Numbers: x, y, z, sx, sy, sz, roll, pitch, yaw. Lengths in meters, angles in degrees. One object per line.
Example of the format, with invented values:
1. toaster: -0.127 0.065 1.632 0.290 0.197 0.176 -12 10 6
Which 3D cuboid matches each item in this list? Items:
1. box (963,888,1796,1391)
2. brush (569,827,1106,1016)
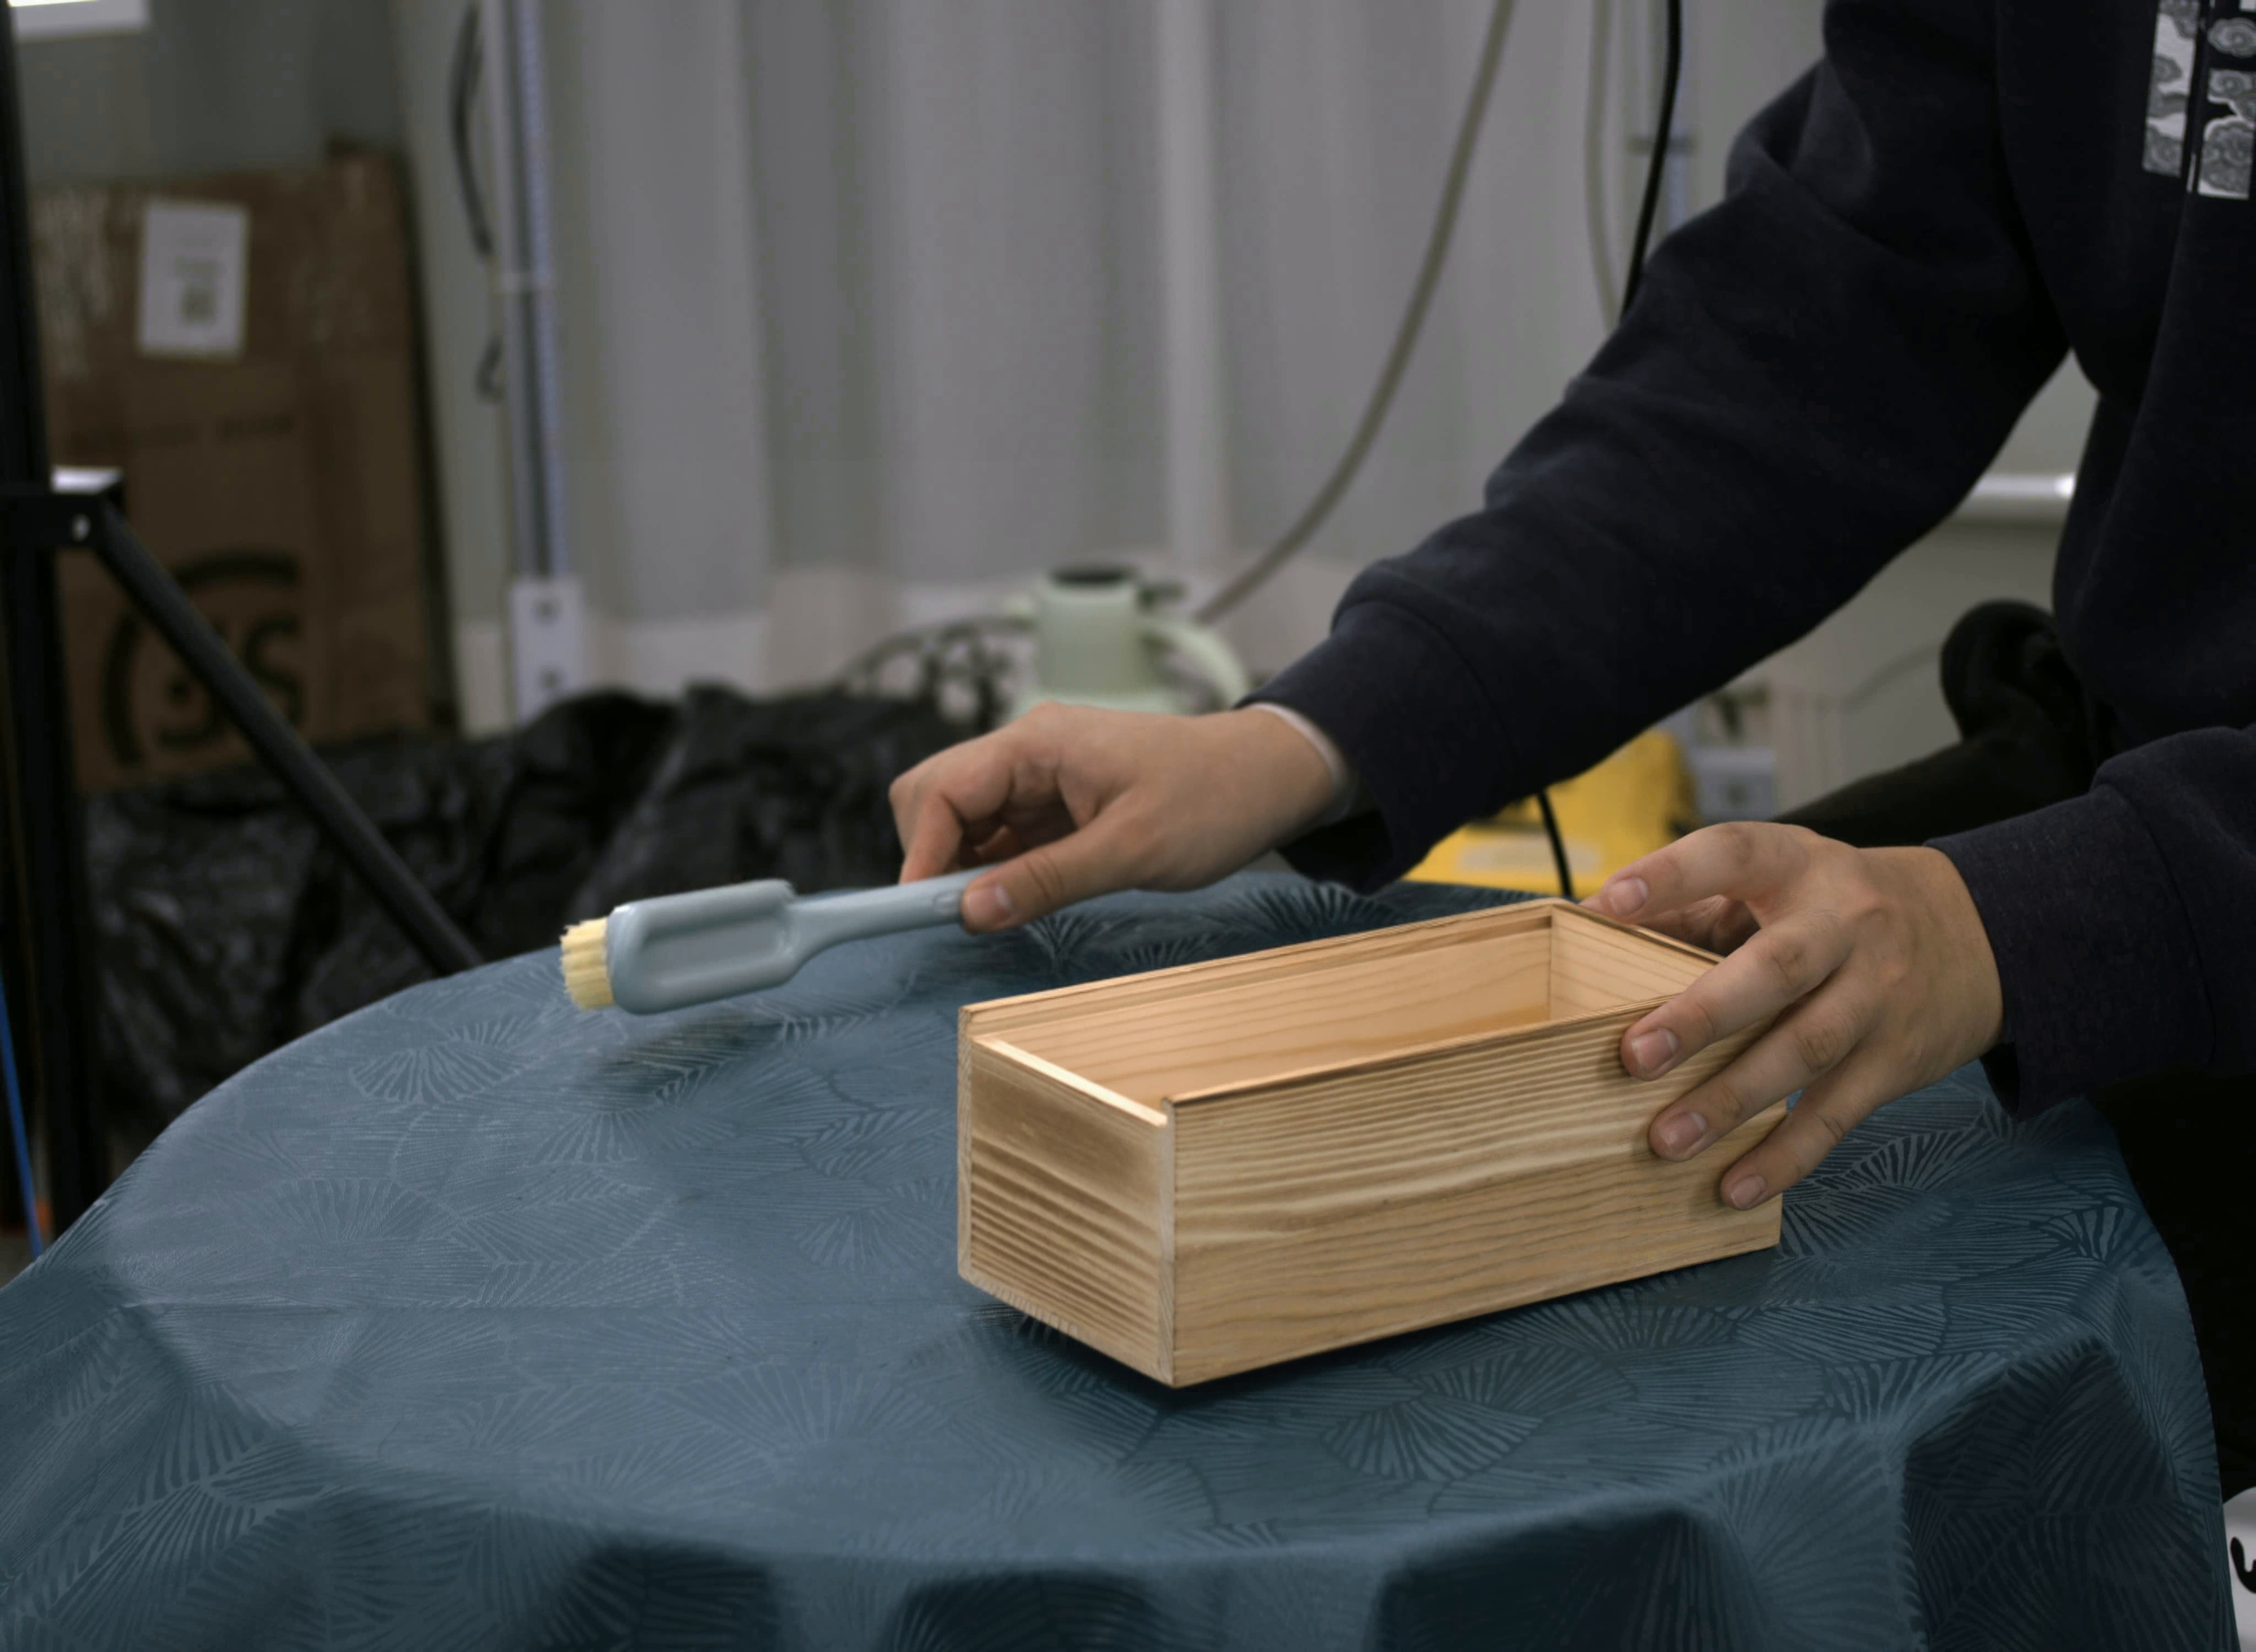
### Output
1. box: 0.070 0.083 1.470 0.206 0.080 0.110 -10 18 -32
2. brush: -0.091 0.028 1.751 0.223 0.038 0.050 -14 -2 -42
